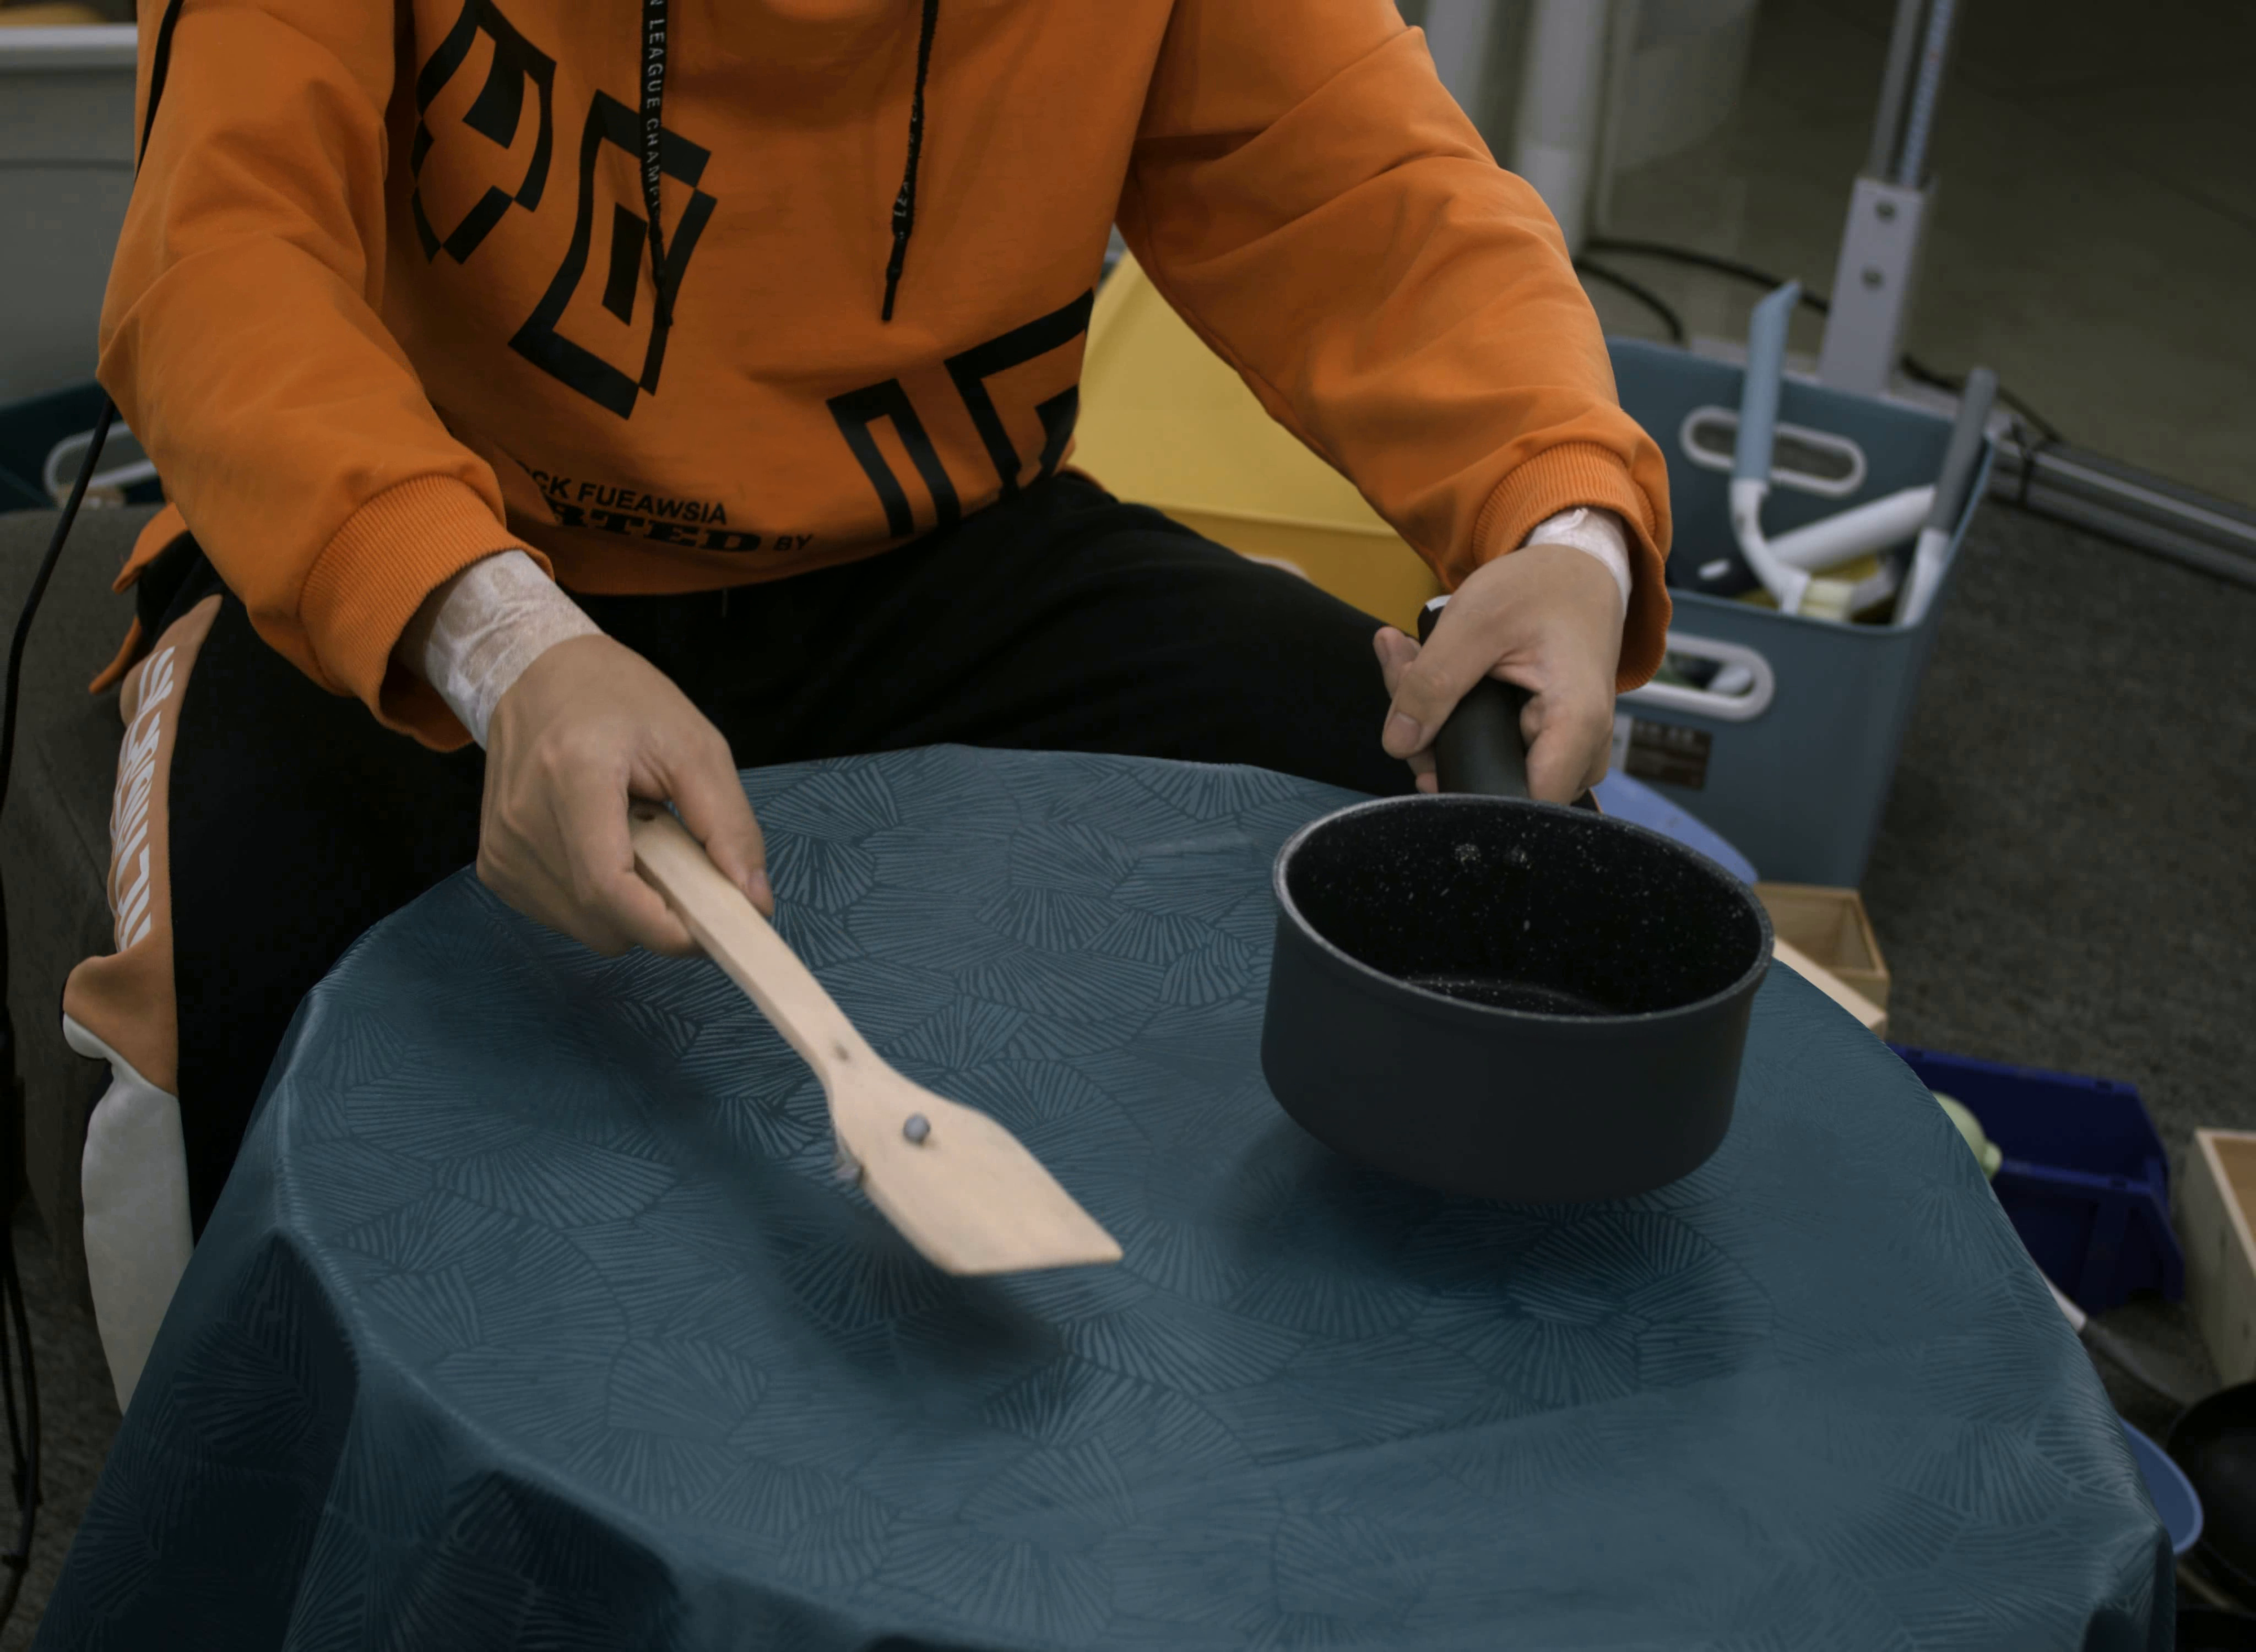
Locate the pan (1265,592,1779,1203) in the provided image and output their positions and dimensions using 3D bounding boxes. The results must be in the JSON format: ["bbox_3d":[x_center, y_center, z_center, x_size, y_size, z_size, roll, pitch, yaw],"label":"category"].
[{"bbox_3d":[0.131,0.021,1.877,0.171,0.086,0.330,7,26,-2],"label":"pan"}]

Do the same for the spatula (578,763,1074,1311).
[{"bbox_3d":[-0.116,0.066,1.785,0.072,0.010,0.296,-8,40,-31],"label":"spatula"}]
